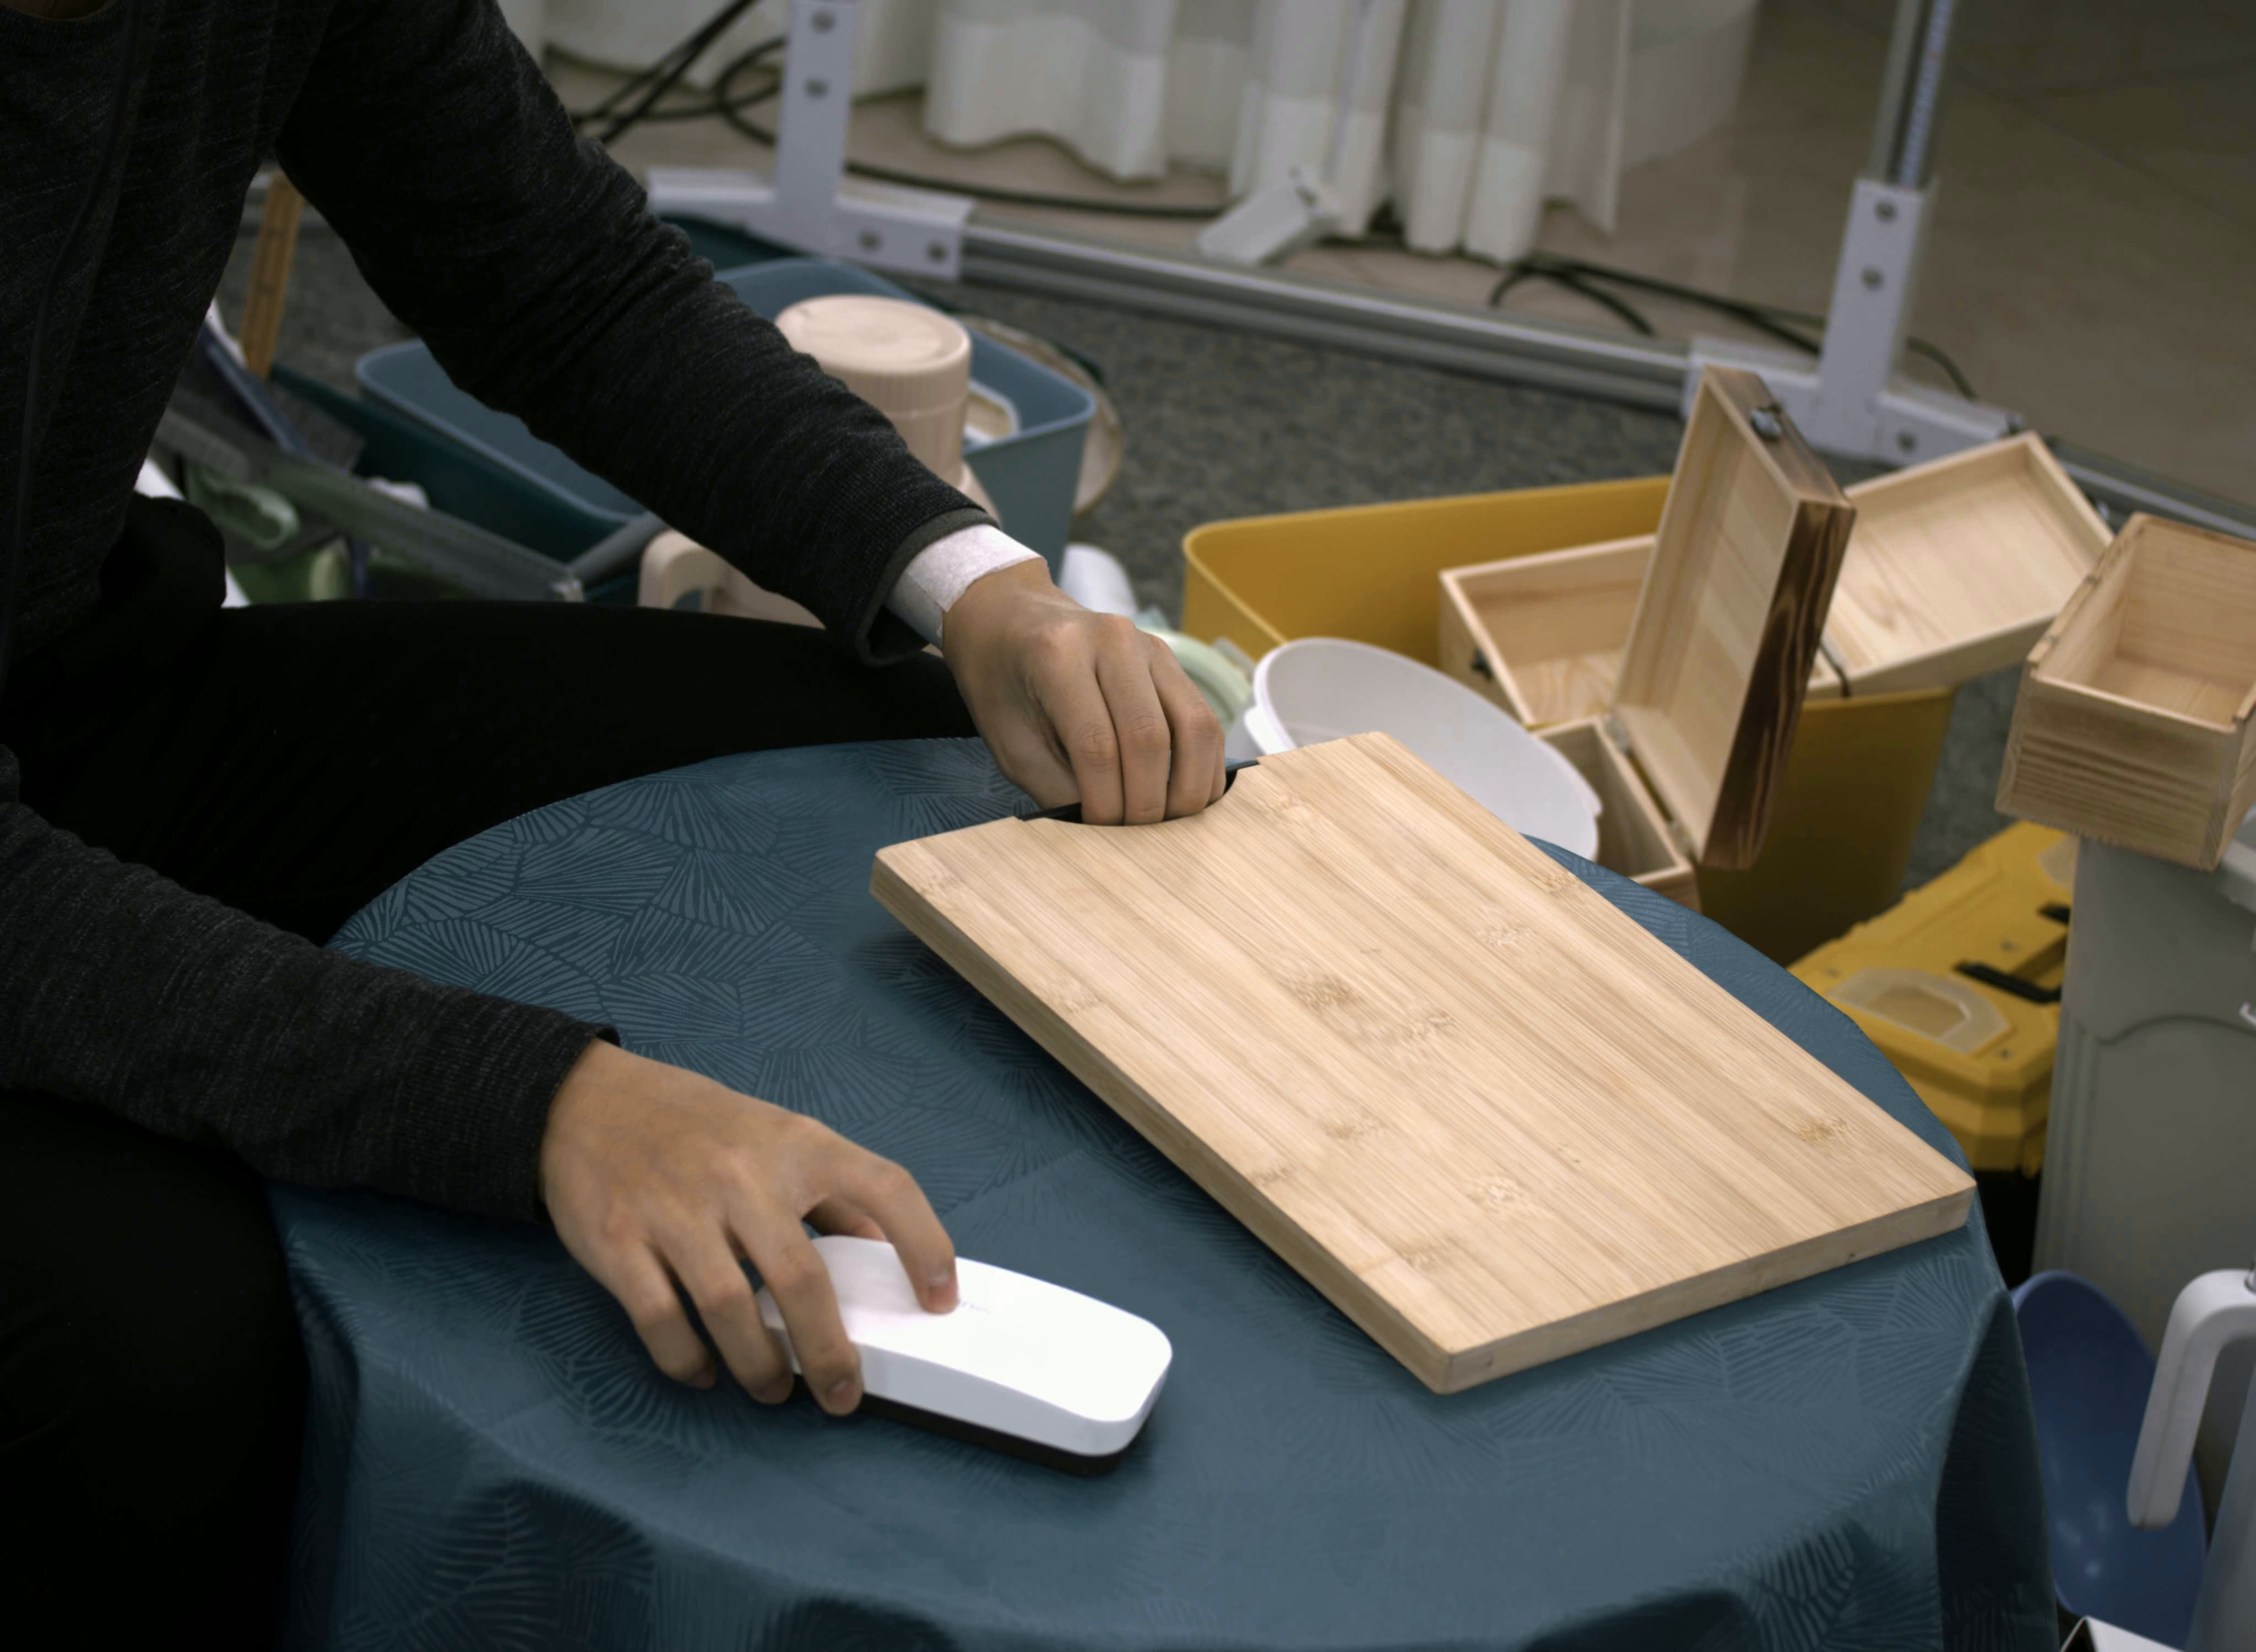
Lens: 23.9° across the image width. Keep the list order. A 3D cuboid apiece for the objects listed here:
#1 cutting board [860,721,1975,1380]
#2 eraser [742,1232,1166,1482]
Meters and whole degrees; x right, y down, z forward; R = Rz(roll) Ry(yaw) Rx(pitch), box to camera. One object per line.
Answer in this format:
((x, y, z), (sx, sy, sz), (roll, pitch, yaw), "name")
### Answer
((0.097, 0.071, 1.888), (0.249, 0.023, 0.352), (-14, 36, -35), "cutting board")
((-0.055, 0.164, 1.676), (0.131, 0.034, 0.063), (16, 30, 16), "eraser")
